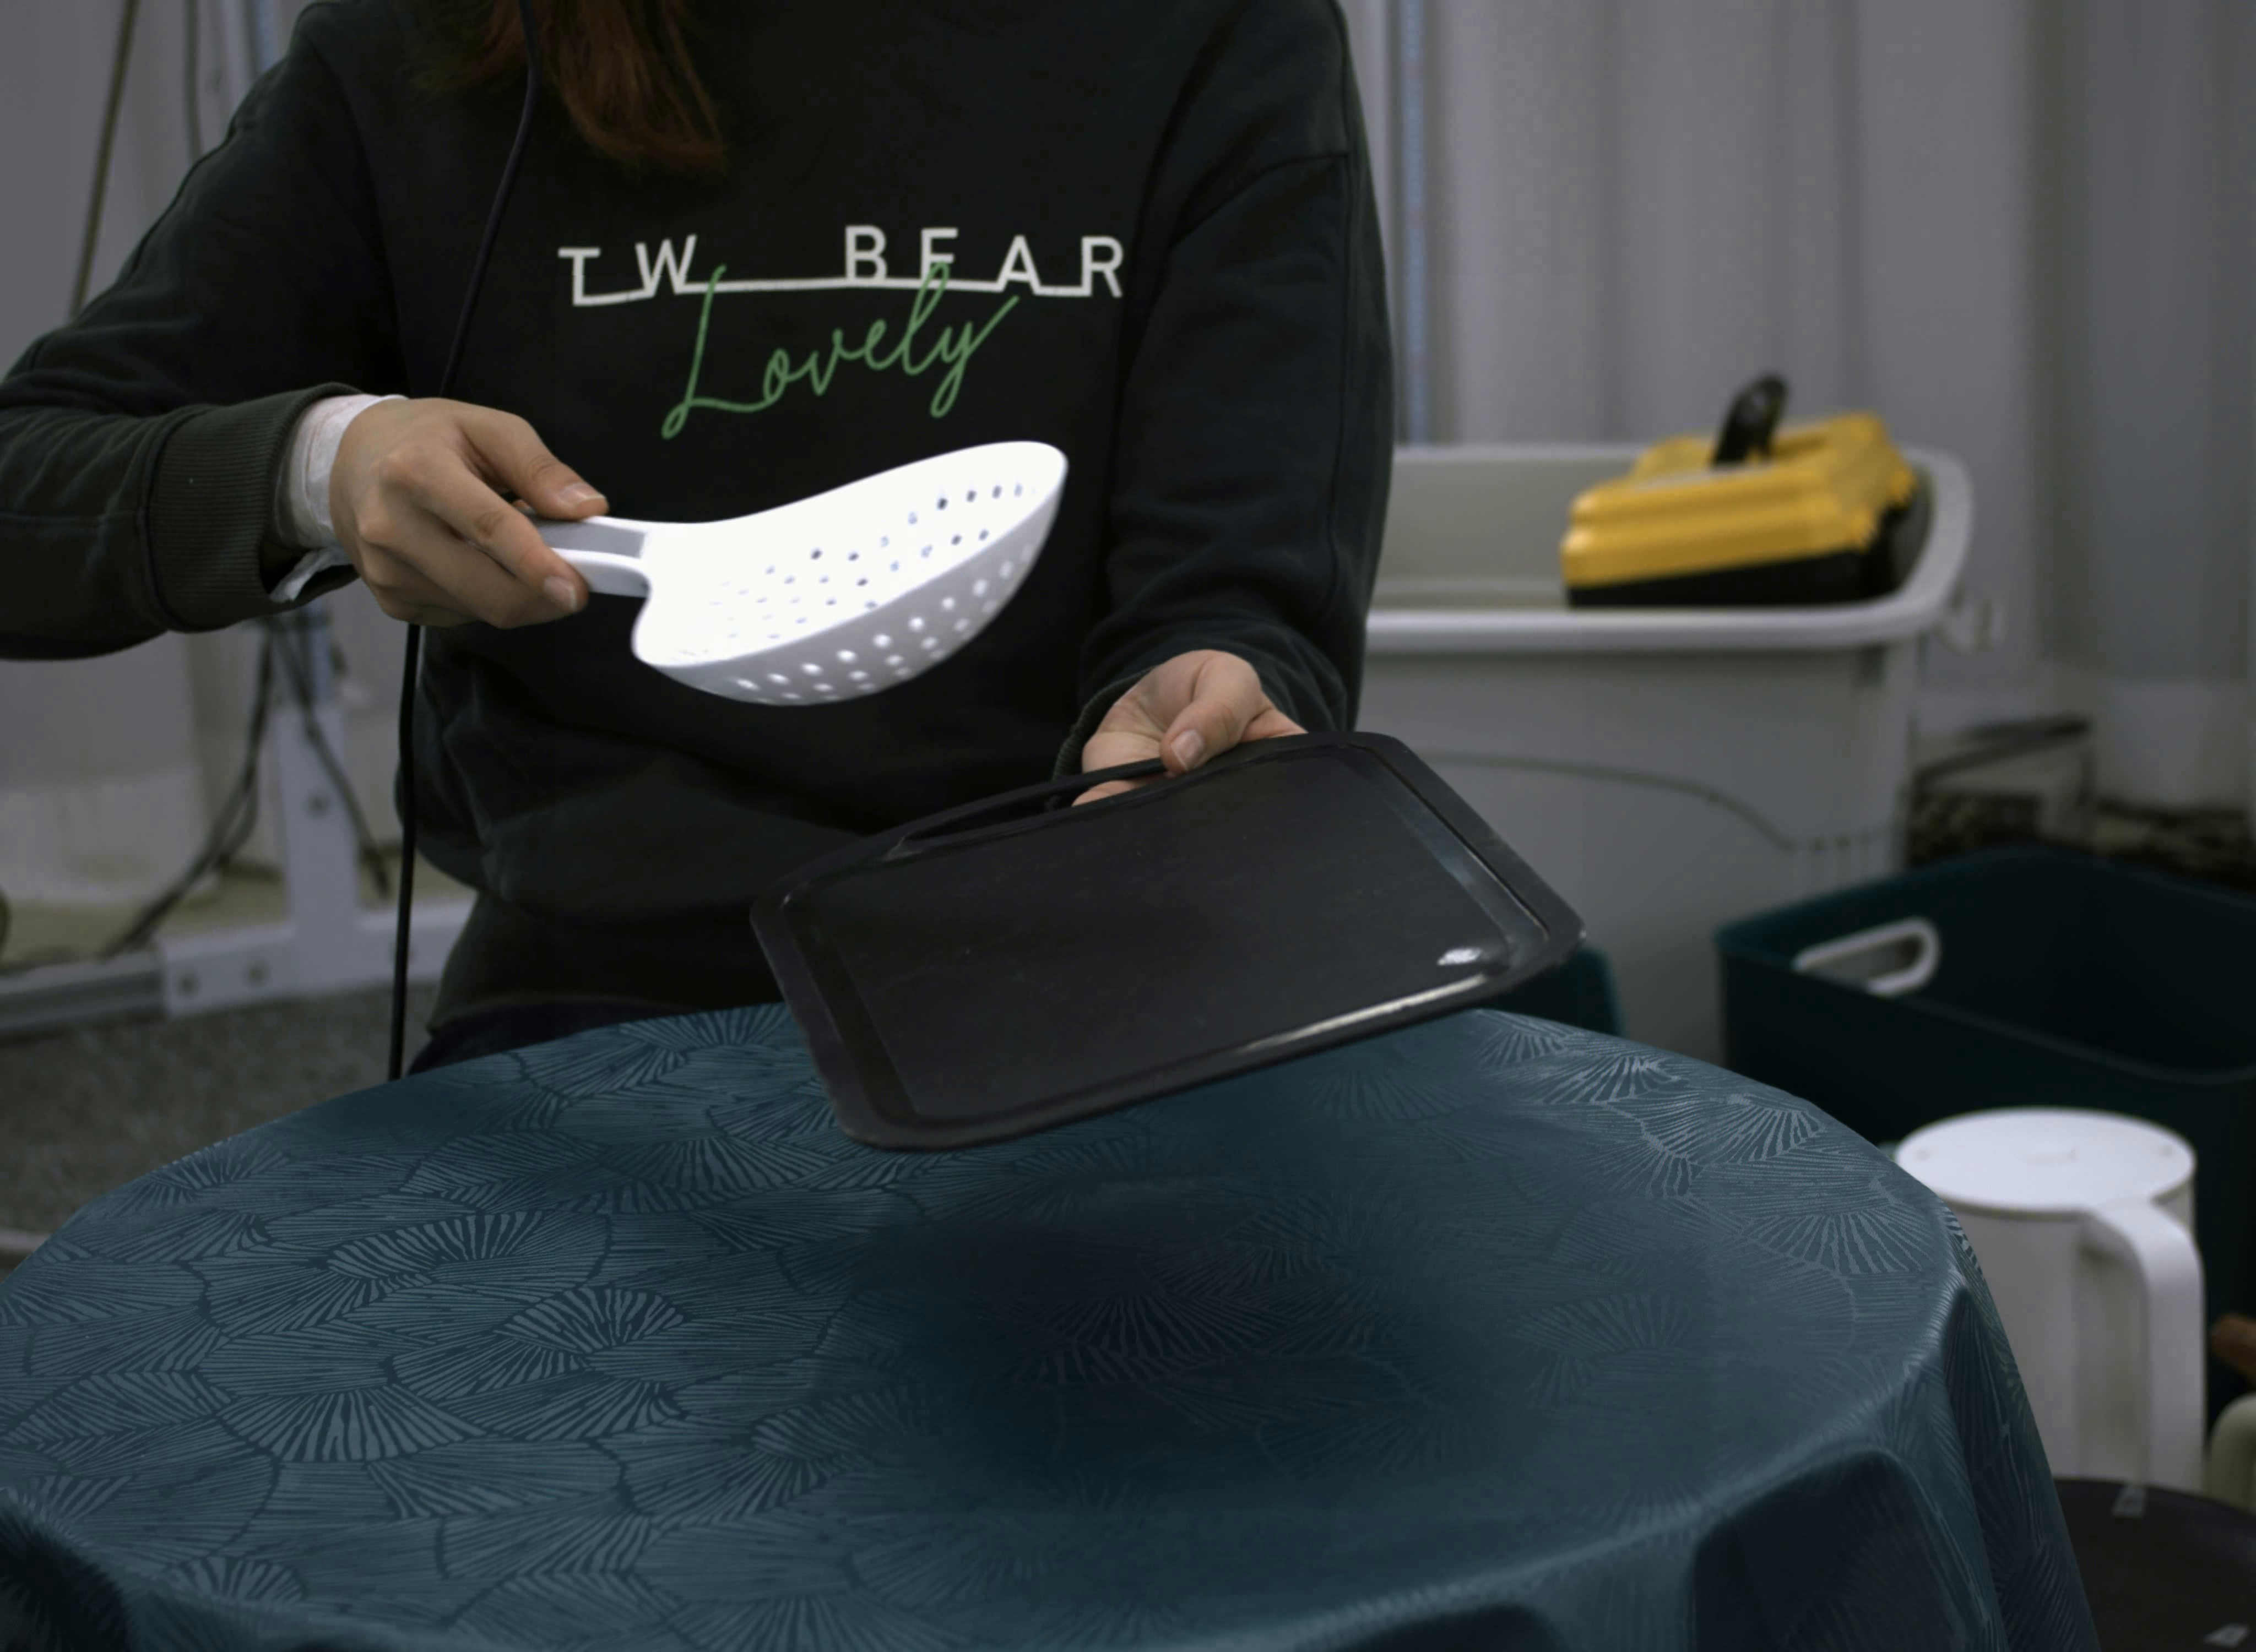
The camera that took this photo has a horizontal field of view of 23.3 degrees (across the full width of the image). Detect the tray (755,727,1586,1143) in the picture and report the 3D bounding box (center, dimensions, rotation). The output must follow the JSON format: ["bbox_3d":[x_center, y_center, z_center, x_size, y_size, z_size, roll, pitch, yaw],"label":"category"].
[{"bbox_3d":[0.002,0.024,1.587,0.210,0.010,0.328,-16,16,-6],"label":"tray"}]

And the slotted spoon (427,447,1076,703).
[{"bbox_3d":[-0.132,-0.082,1.682,0.136,0.045,0.352,-32,25,-25],"label":"slotted spoon"}]
